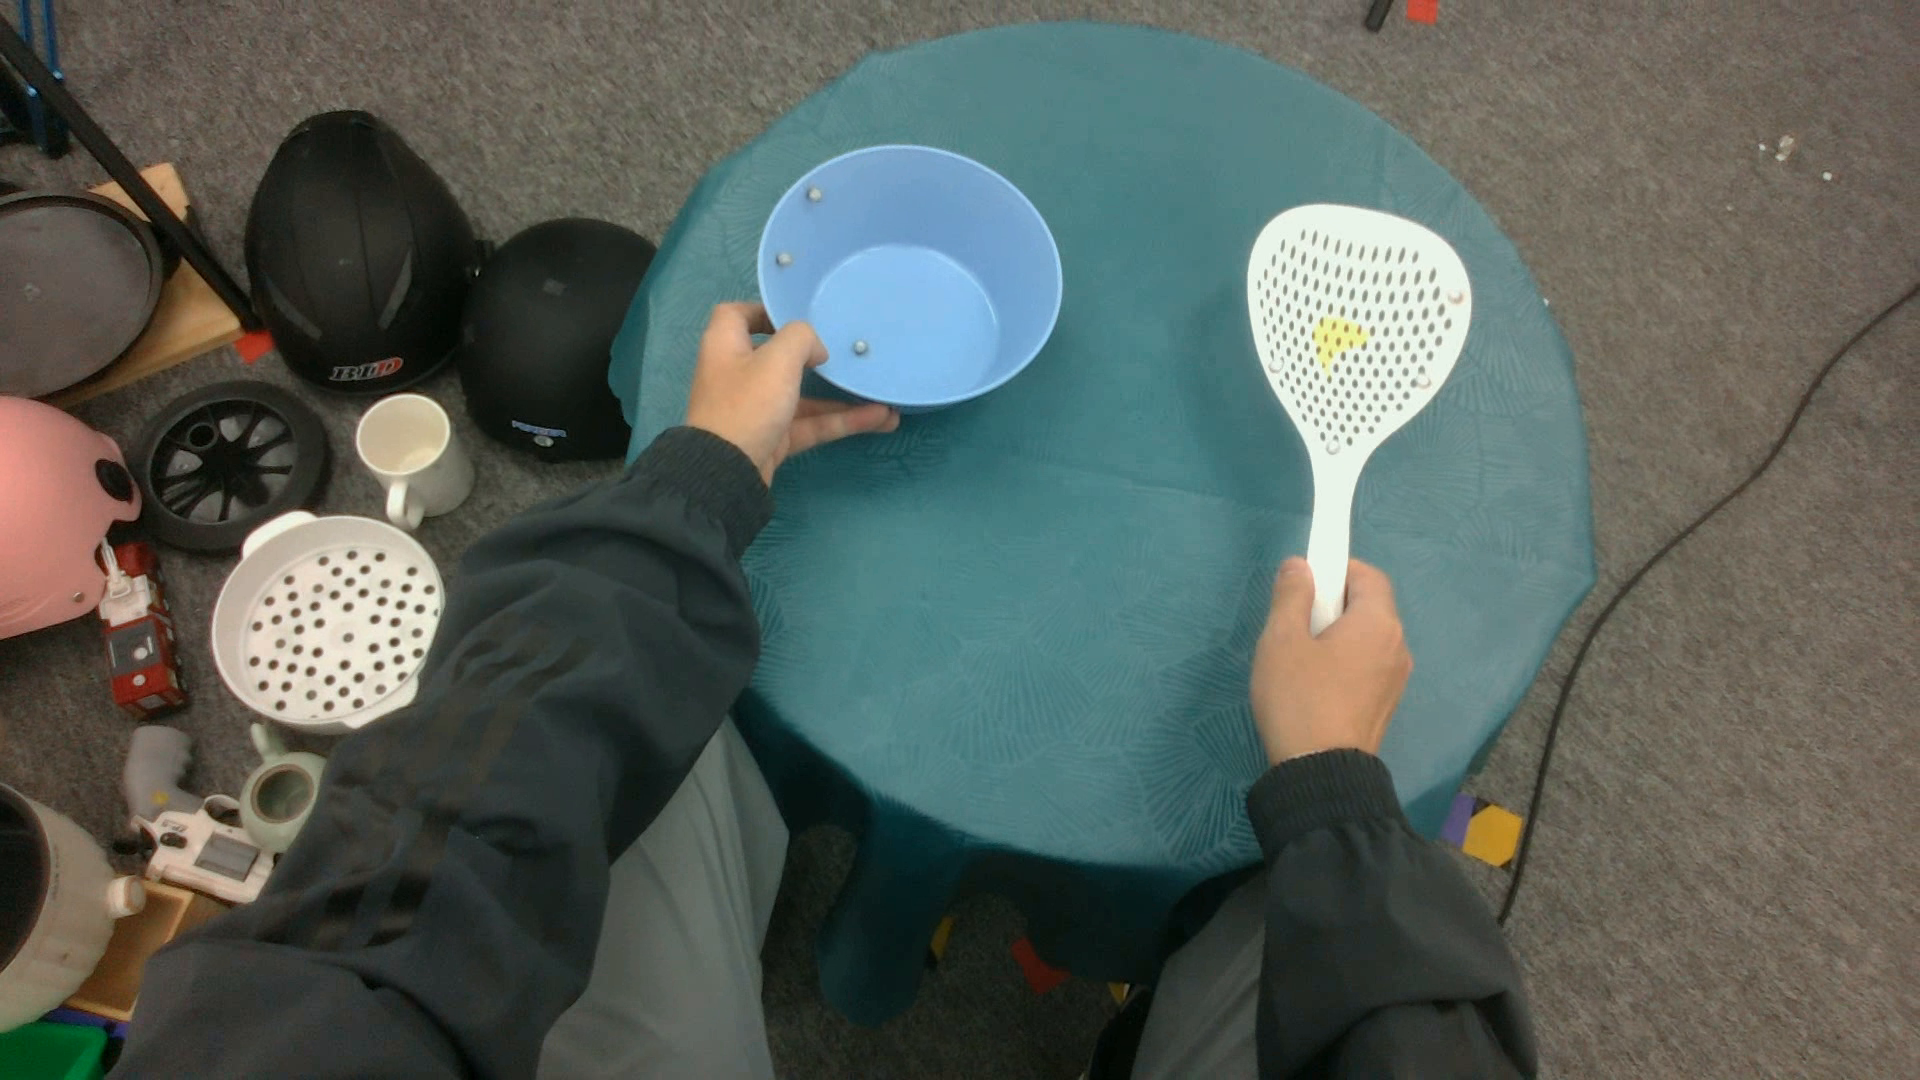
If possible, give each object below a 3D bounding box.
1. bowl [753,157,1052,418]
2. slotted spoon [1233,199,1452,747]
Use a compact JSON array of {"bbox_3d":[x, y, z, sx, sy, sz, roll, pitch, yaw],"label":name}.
[{"bbox_3d":[-0.036,-0.141,0.833,0.176,0.070,0.176,2,66,-5],"label":"bowl"},{"bbox_3d":[0.214,-0.051,0.809,0.137,0.050,0.349,11,62,-1],"label":"slotted spoon"}]
